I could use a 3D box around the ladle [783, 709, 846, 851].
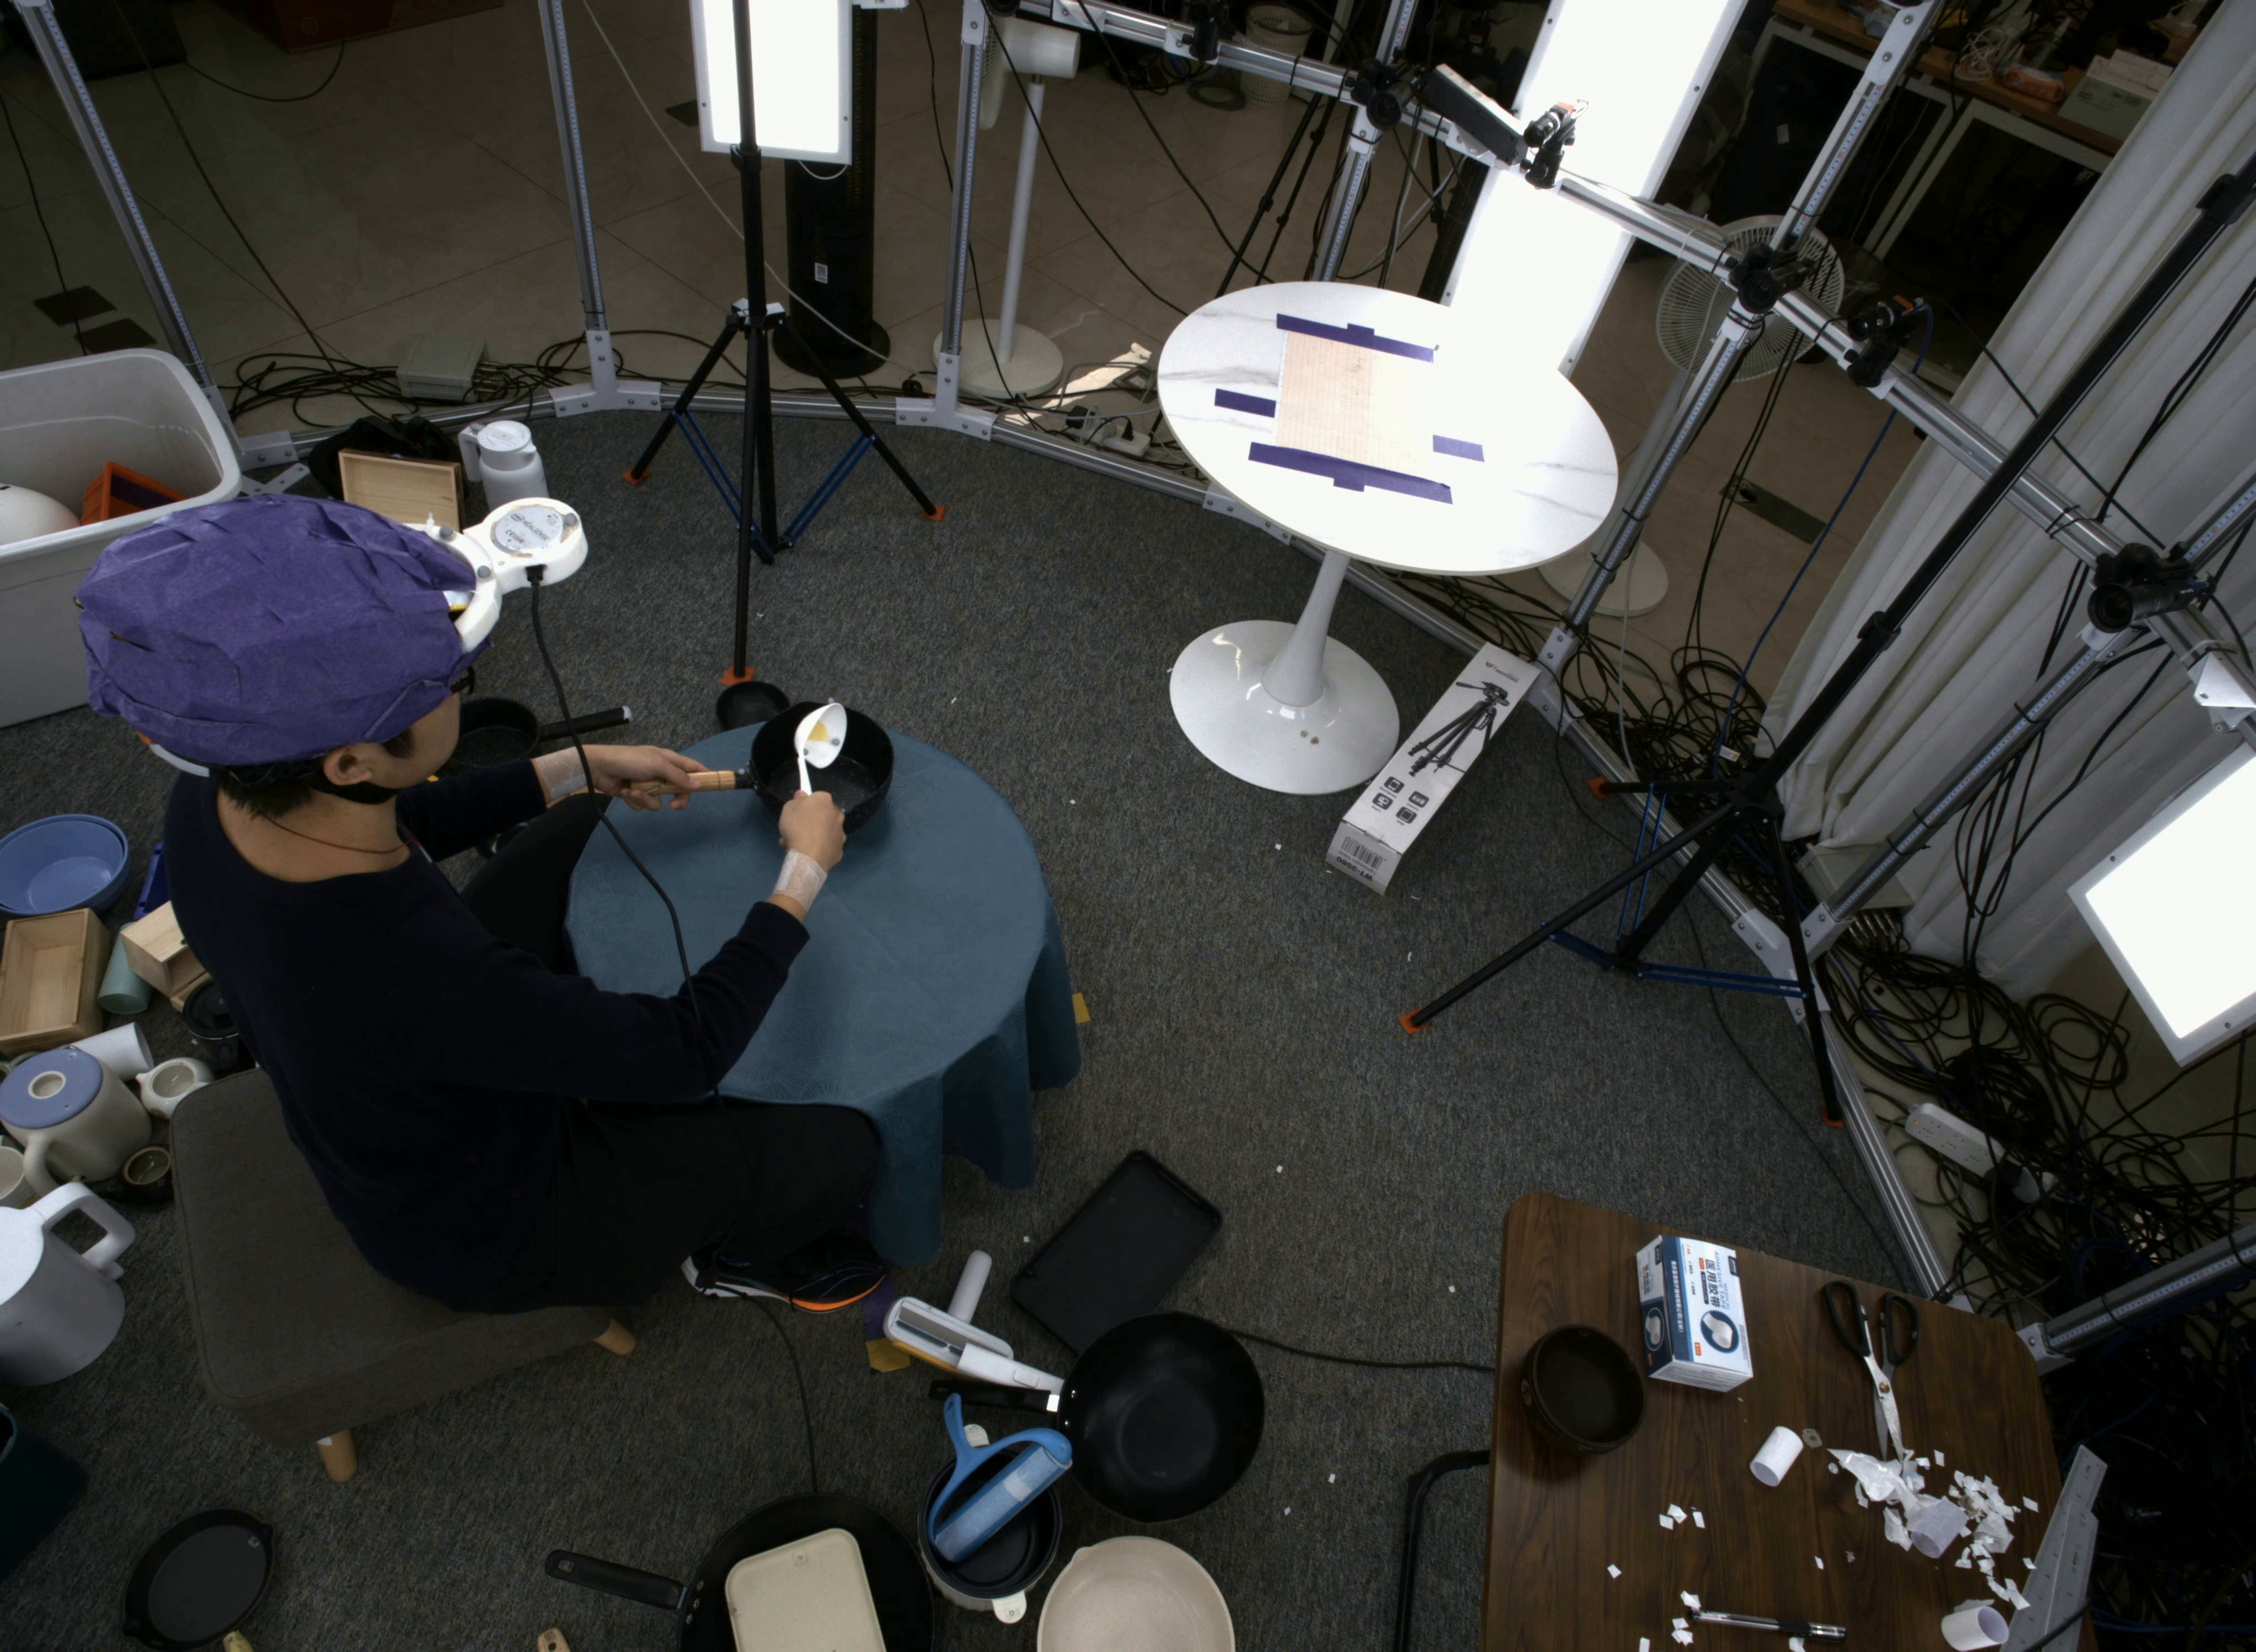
[{"bbox_3d":[-0.379,-0.054,1.570,0.070,0.092,0.284,11,27,-19],"label":"ladle"}]

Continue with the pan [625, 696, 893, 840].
[{"bbox_3d":[-0.474,-0.058,1.671,0.345,0.110,0.202,-14,59,-27],"label":"pan"}]
